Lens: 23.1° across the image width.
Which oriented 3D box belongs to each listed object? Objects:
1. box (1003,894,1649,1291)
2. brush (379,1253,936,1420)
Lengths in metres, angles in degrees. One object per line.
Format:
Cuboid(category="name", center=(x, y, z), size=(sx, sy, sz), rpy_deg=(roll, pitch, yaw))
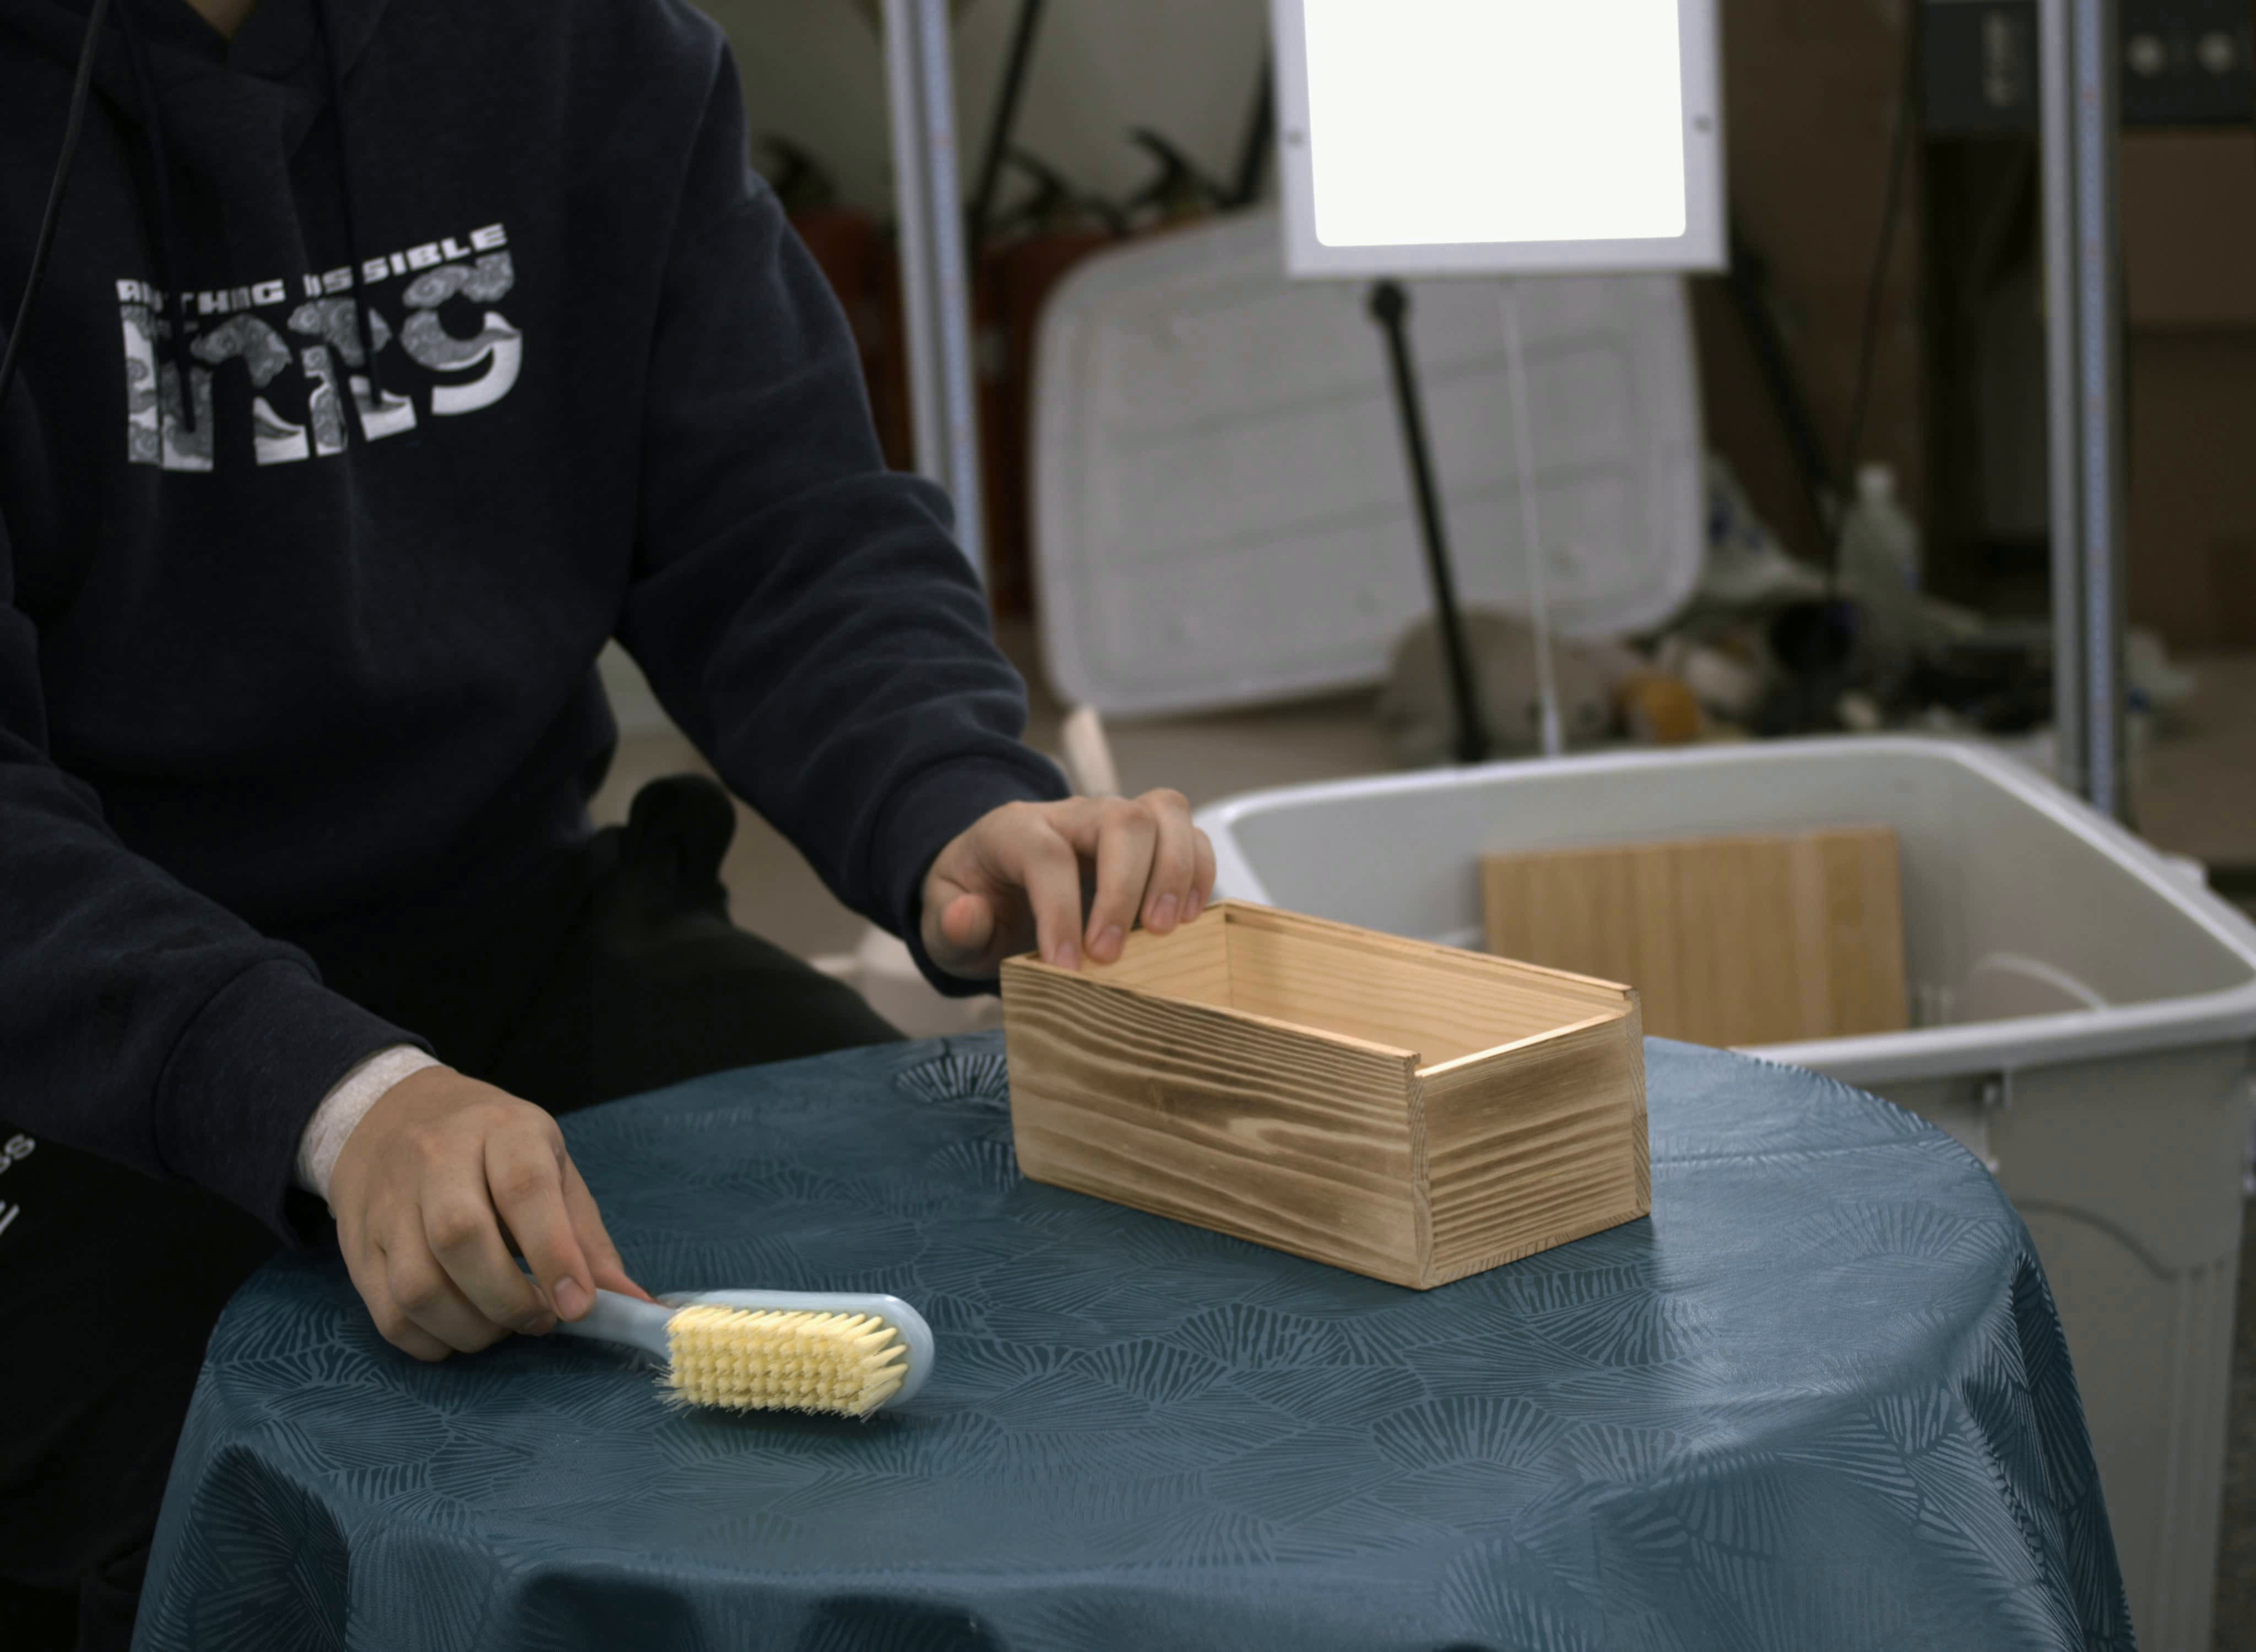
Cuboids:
Cuboid(category="box", center=(0.065, 0.087, 1.868), size=(0.105, 0.080, 0.216), rpy_deg=(-15, 17, -37))
Cuboid(category="brush", center=(-0.159, 0.158, 1.746), size=(0.234, 0.038, 0.048), rpy_deg=(6, 18, 41))
